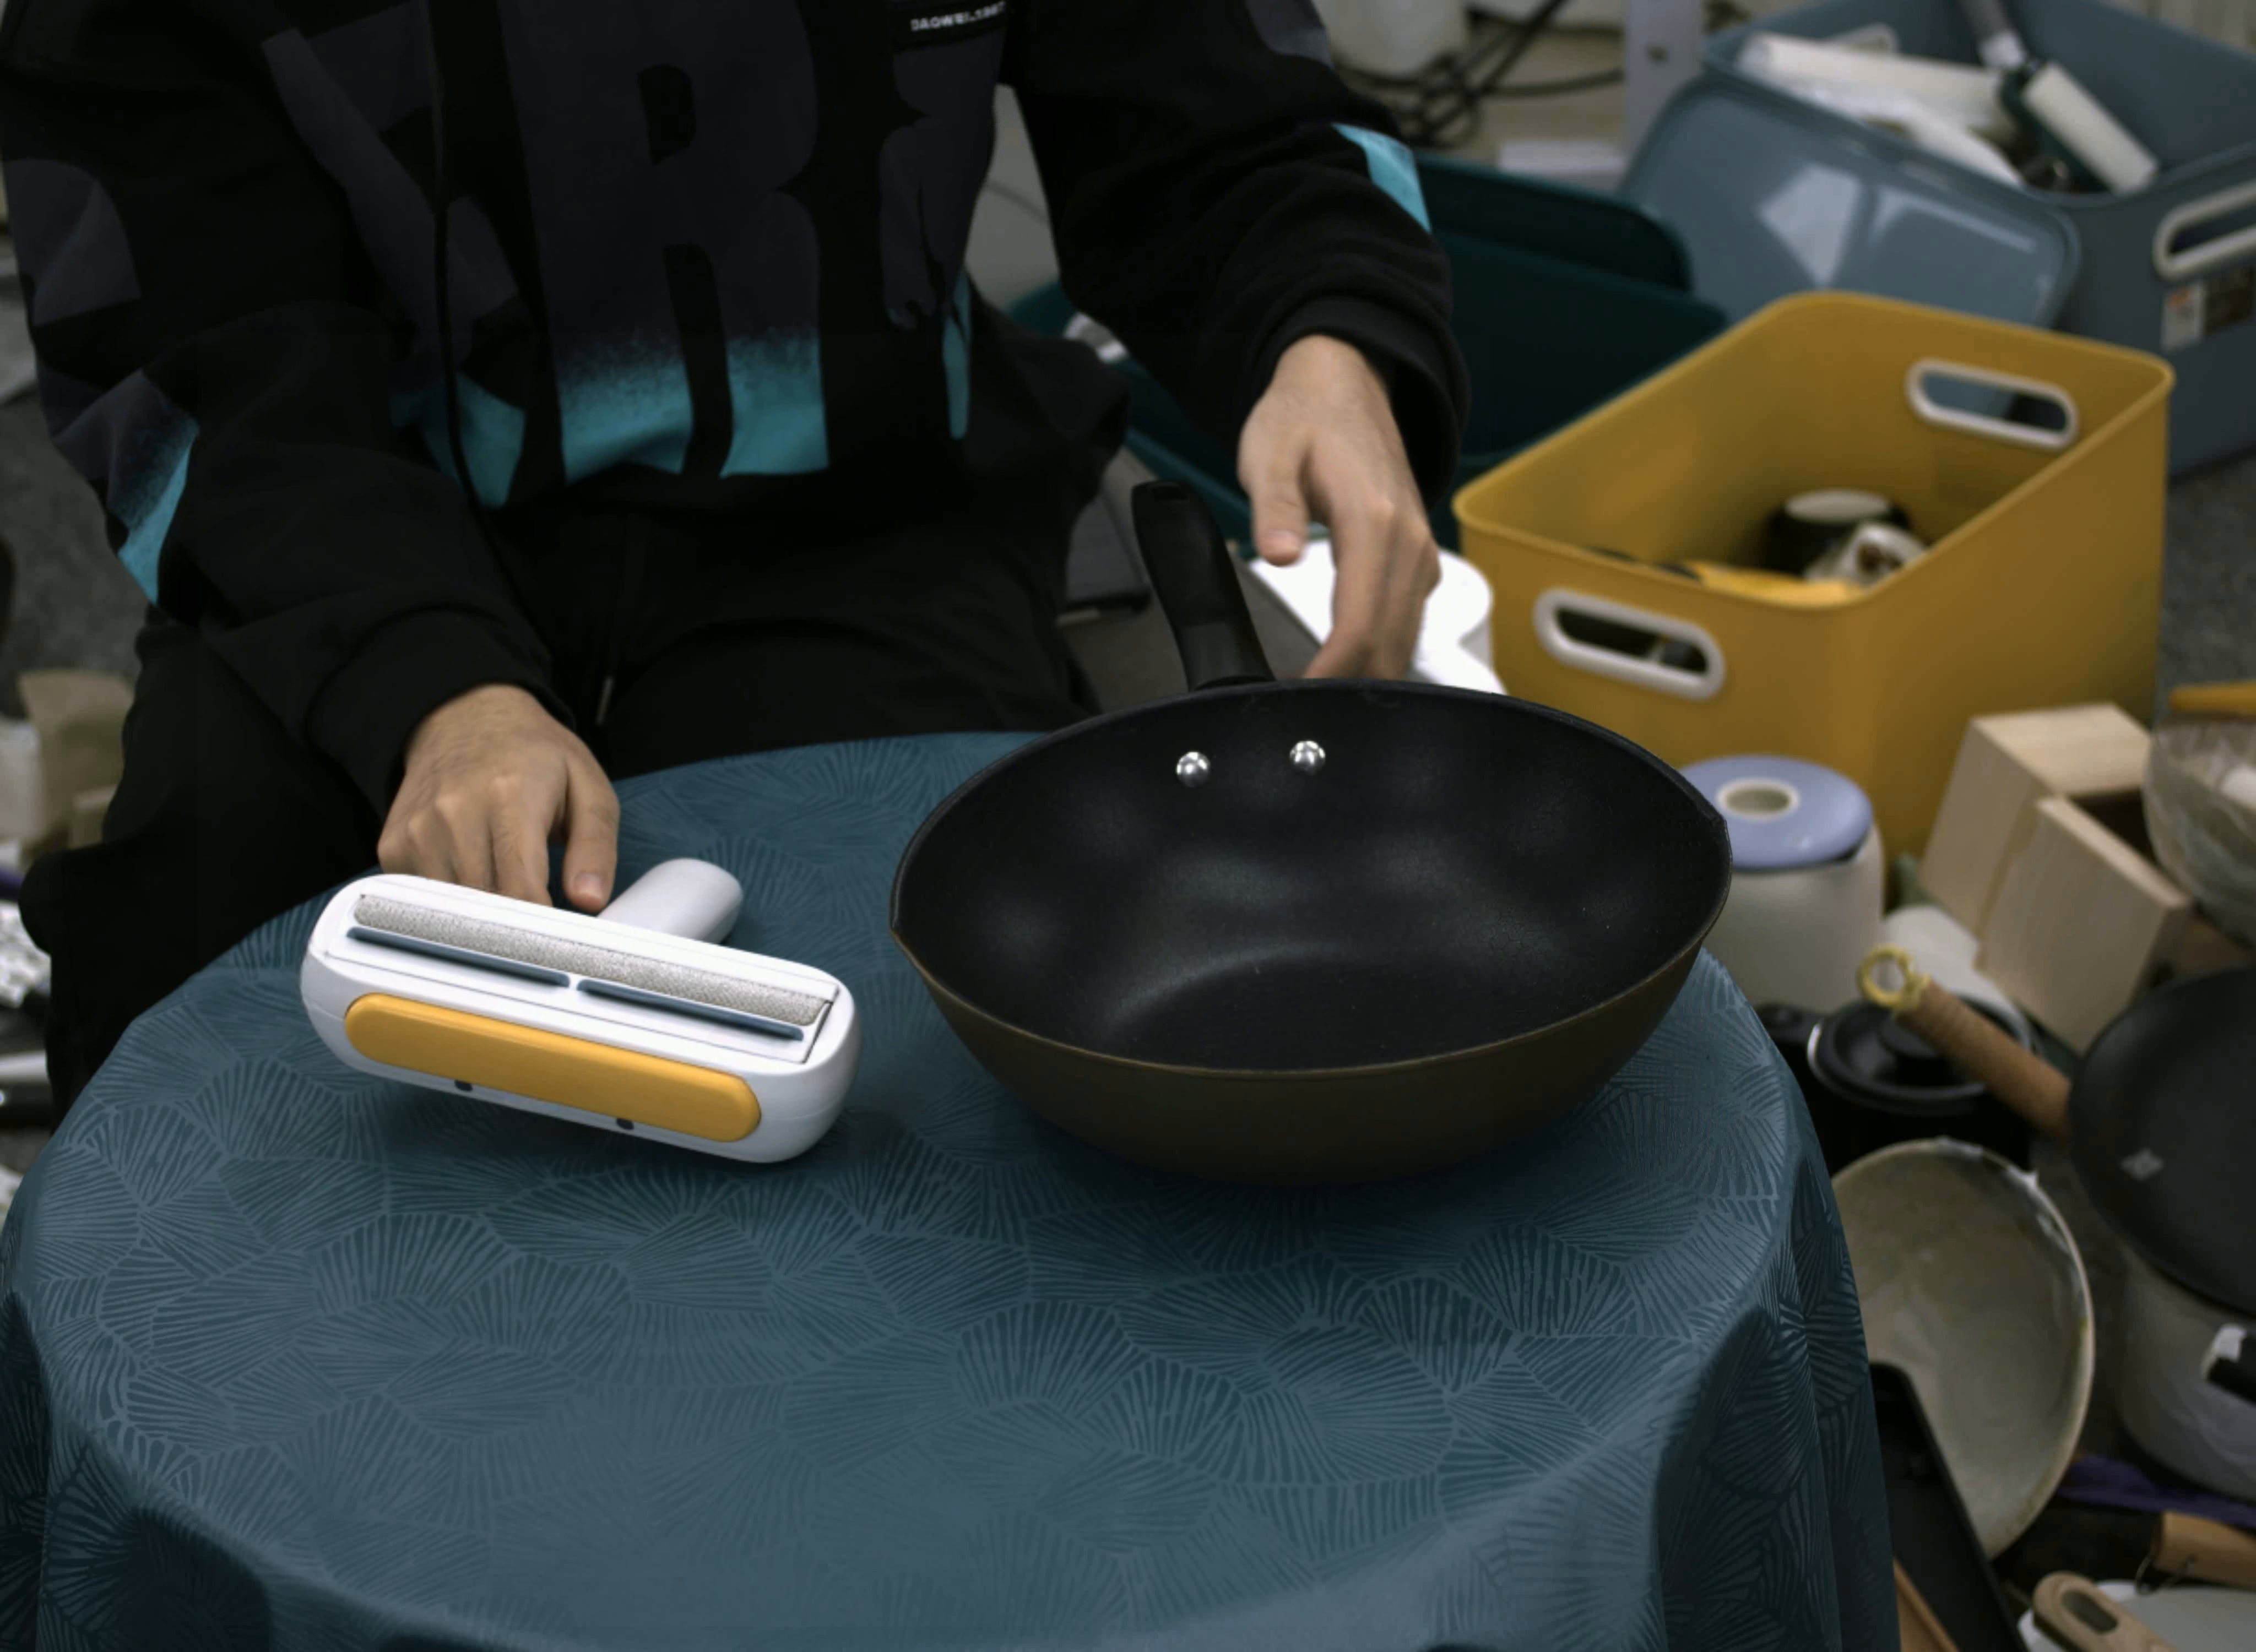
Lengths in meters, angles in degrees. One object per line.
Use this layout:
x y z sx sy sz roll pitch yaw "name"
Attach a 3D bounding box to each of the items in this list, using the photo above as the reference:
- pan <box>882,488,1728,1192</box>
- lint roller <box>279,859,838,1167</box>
0.048 0.007 1.988 0.287 0.086 0.469 -6 27 -6 "pan"
-0.176 0.045 1.952 0.192 0.073 0.195 10 28 13 "lint roller"
